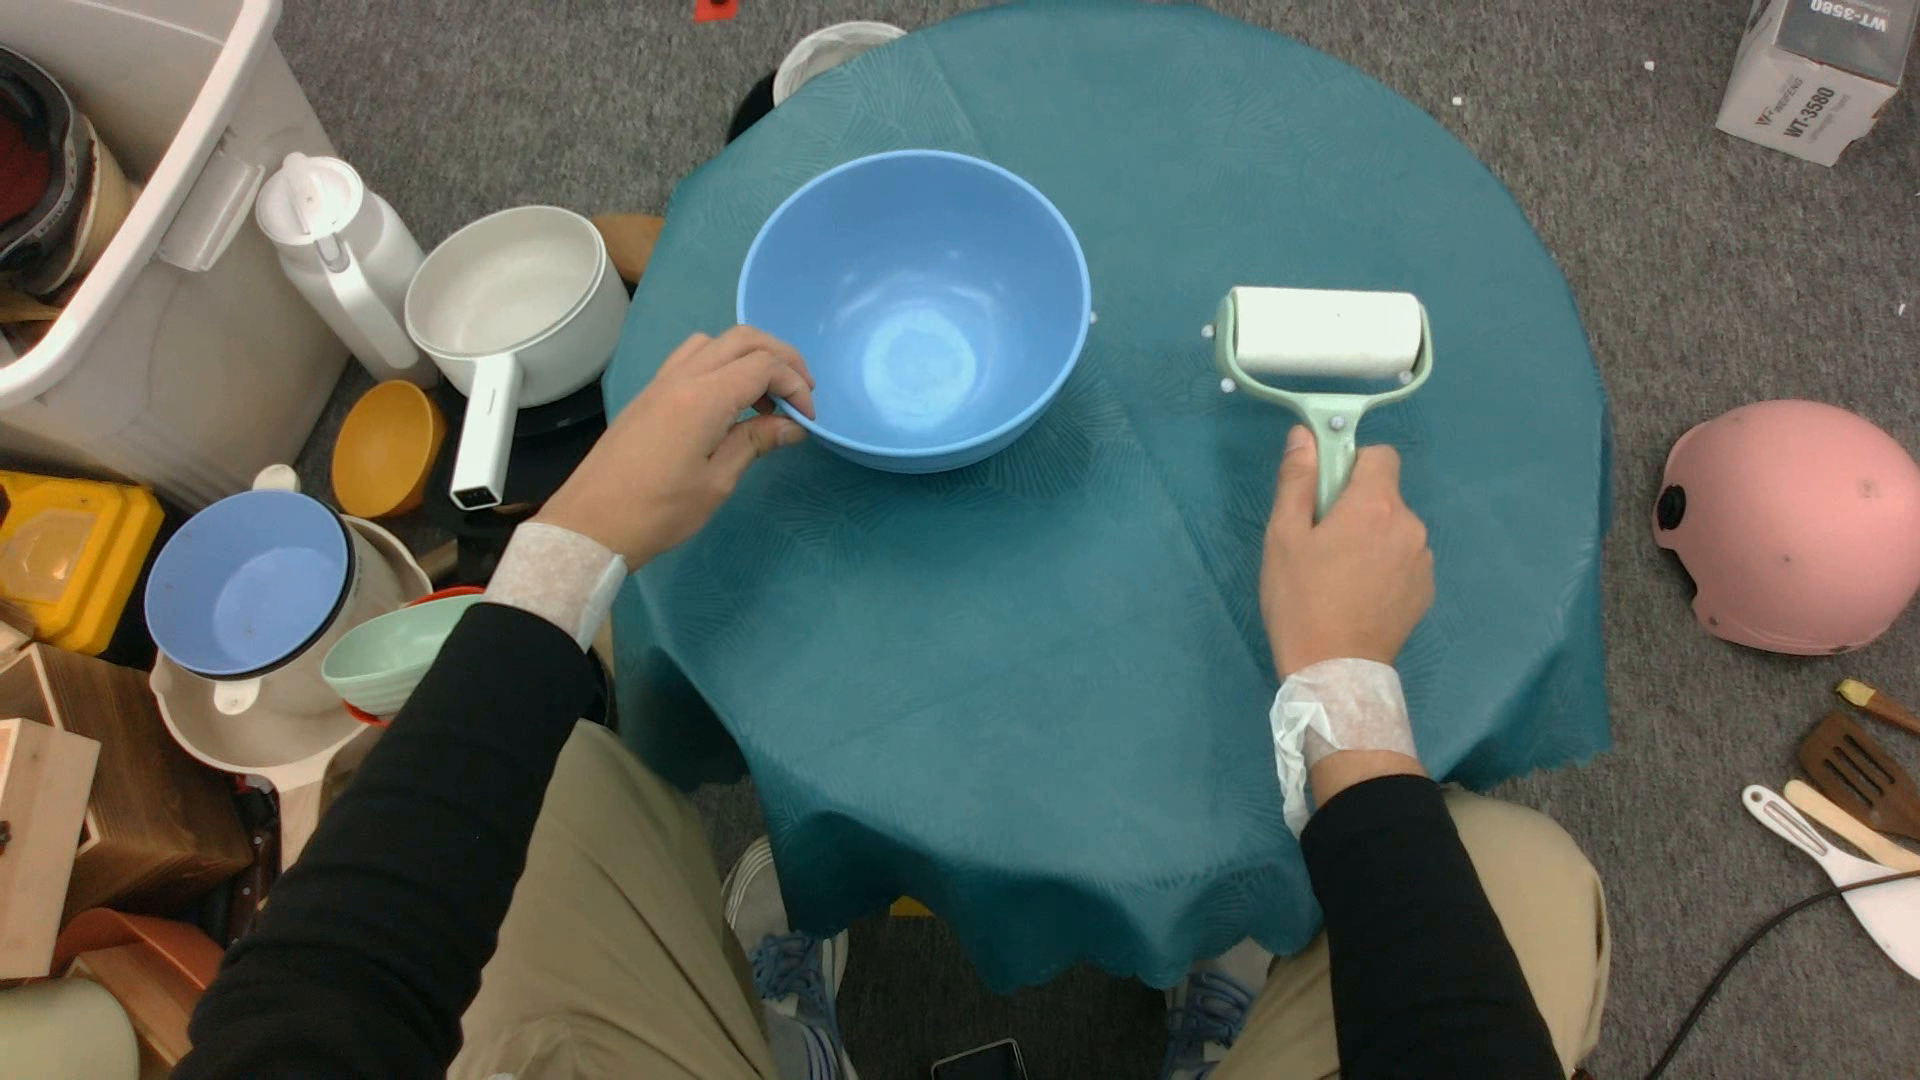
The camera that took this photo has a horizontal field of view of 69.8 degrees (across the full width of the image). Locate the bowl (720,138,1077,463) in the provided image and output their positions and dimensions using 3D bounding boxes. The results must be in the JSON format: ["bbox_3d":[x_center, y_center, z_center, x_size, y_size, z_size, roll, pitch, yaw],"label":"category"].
[{"bbox_3d":[-0.034,-0.124,0.799,0.196,0.095,0.197,0,68,0],"label":"bowl"}]

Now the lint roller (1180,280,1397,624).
[{"bbox_3d":[0.185,-0.053,0.758,0.116,0.048,0.198,0,71,-3],"label":"lint roller"}]
